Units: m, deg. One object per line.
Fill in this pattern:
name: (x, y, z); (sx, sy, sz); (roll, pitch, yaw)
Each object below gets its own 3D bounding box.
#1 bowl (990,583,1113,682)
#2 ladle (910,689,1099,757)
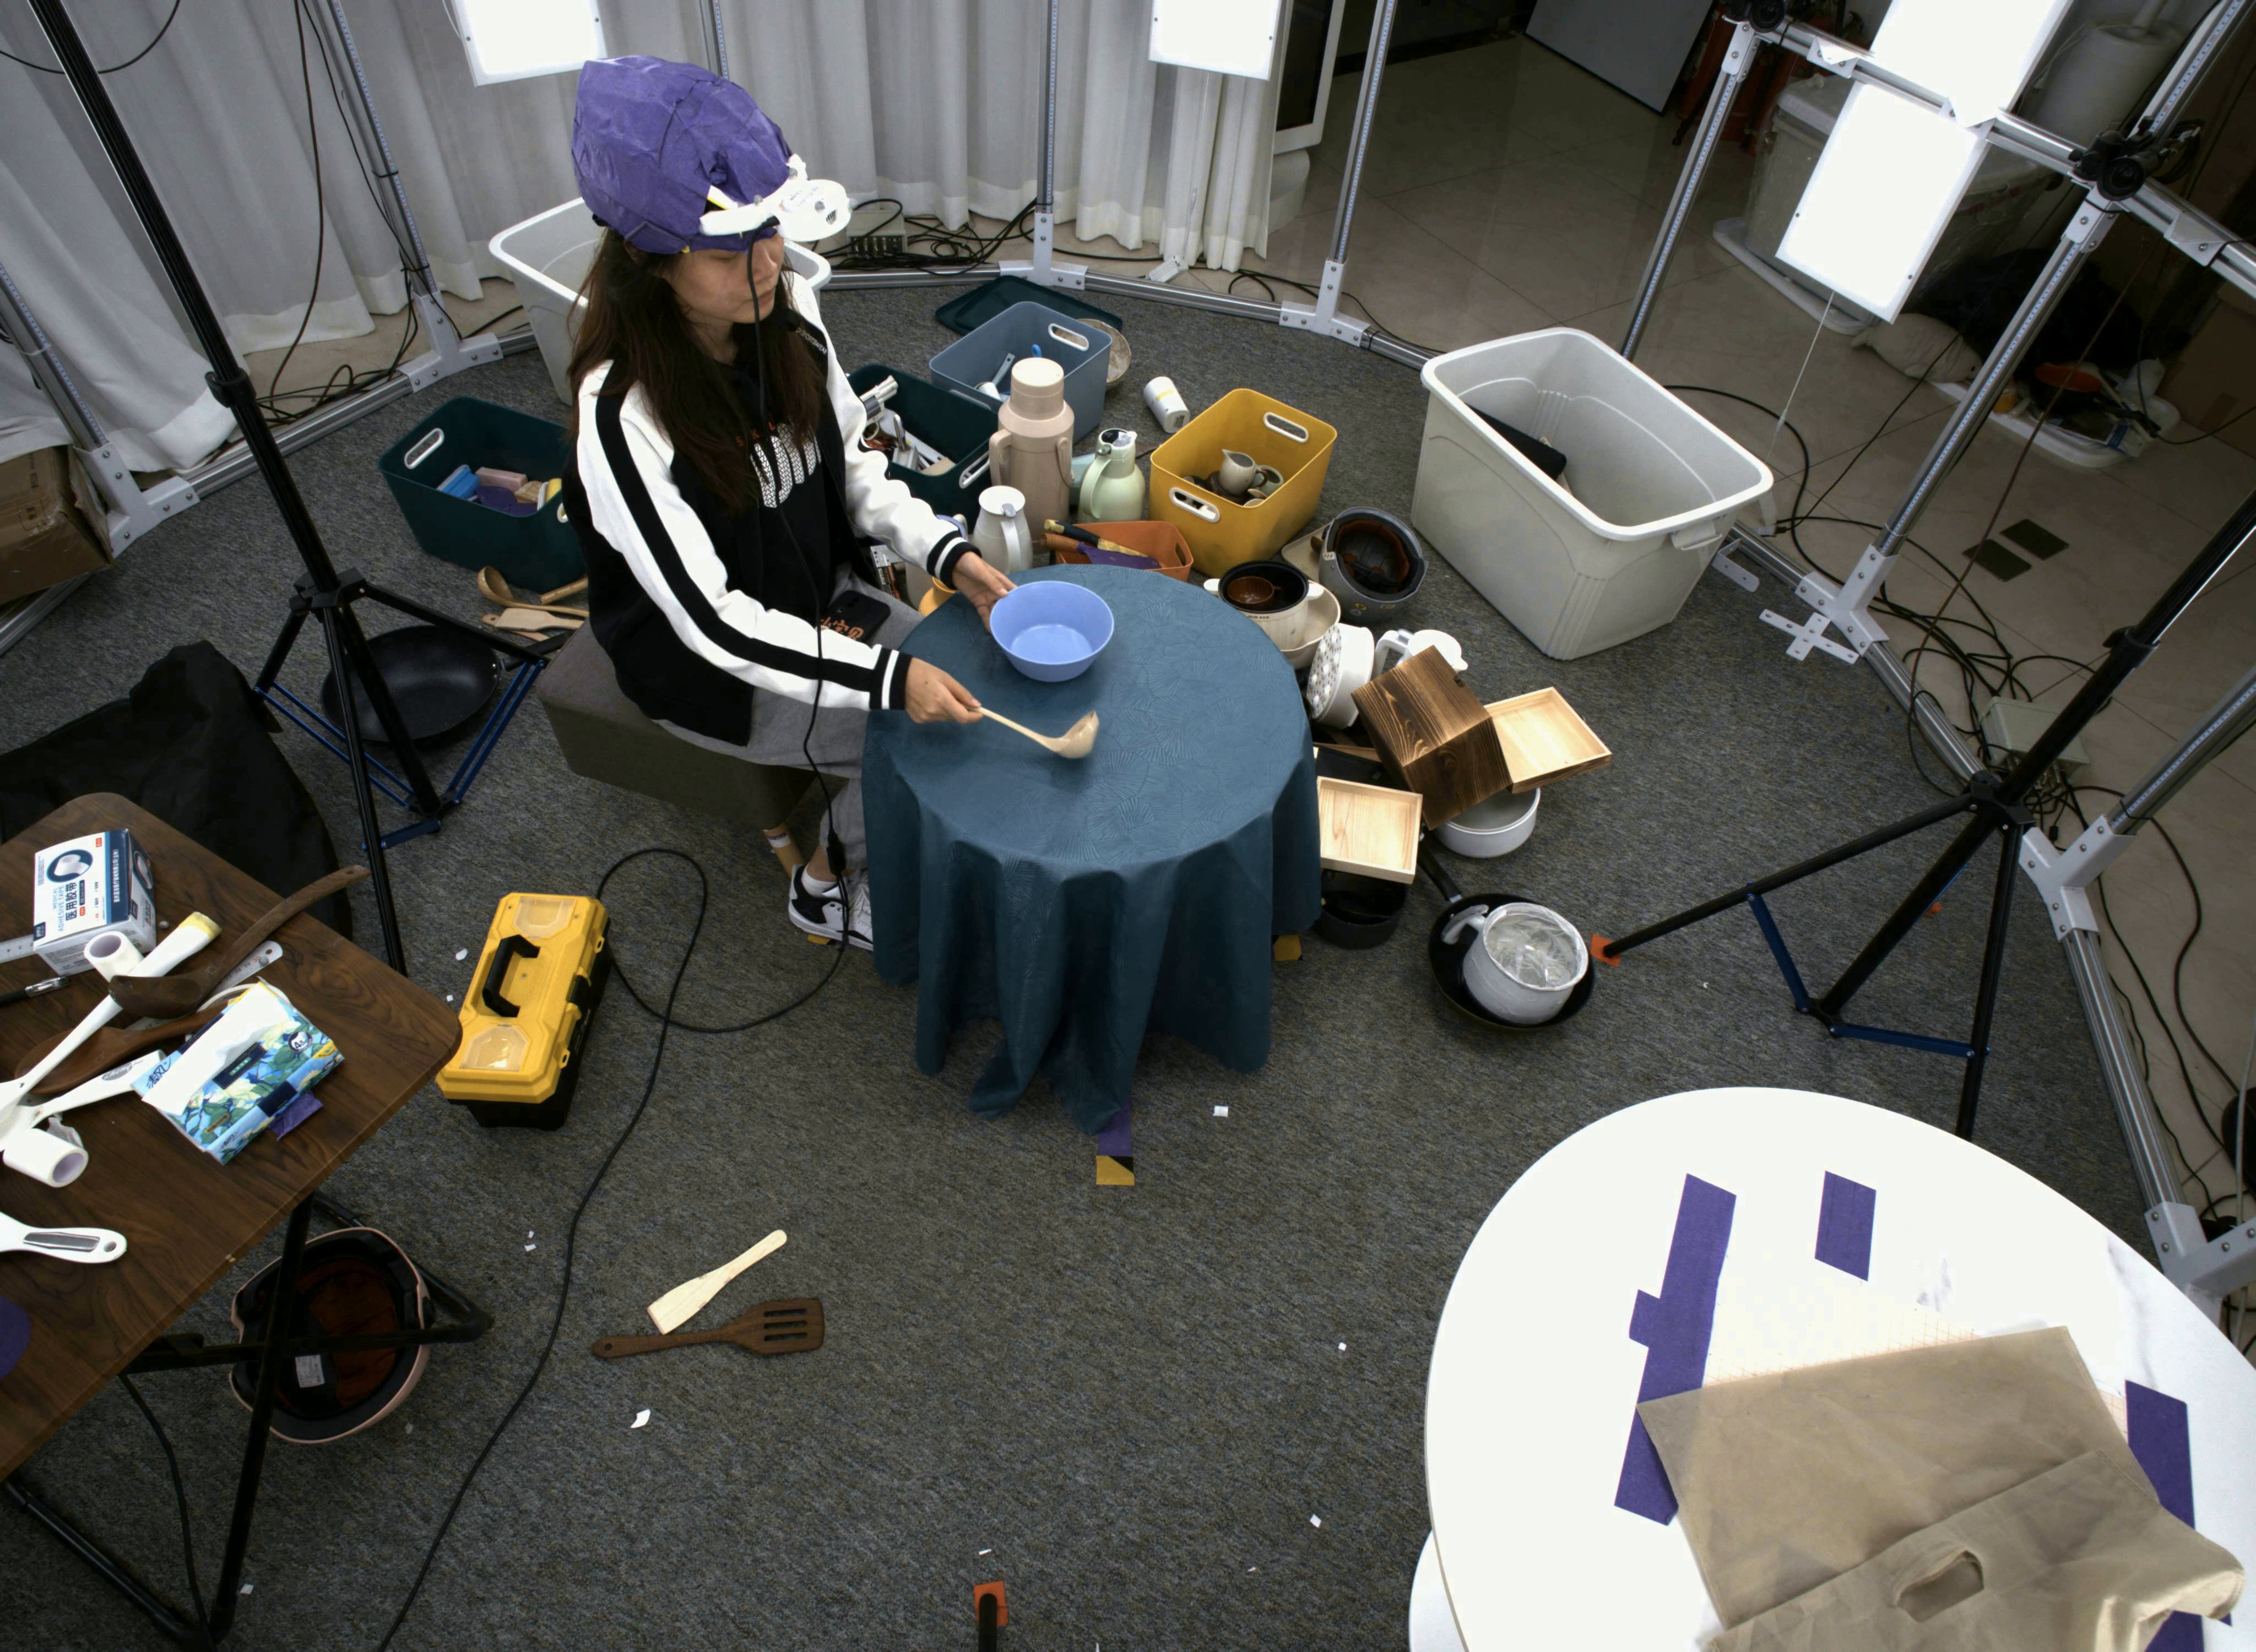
bowl: (-0.110, -0.269, 1.851); (0.176, 0.068, 0.180); (2, 48, -3)
ladle: (-0.162, -0.162, 1.711); (0.254, 0.071, 0.073); (21, 35, 0)
